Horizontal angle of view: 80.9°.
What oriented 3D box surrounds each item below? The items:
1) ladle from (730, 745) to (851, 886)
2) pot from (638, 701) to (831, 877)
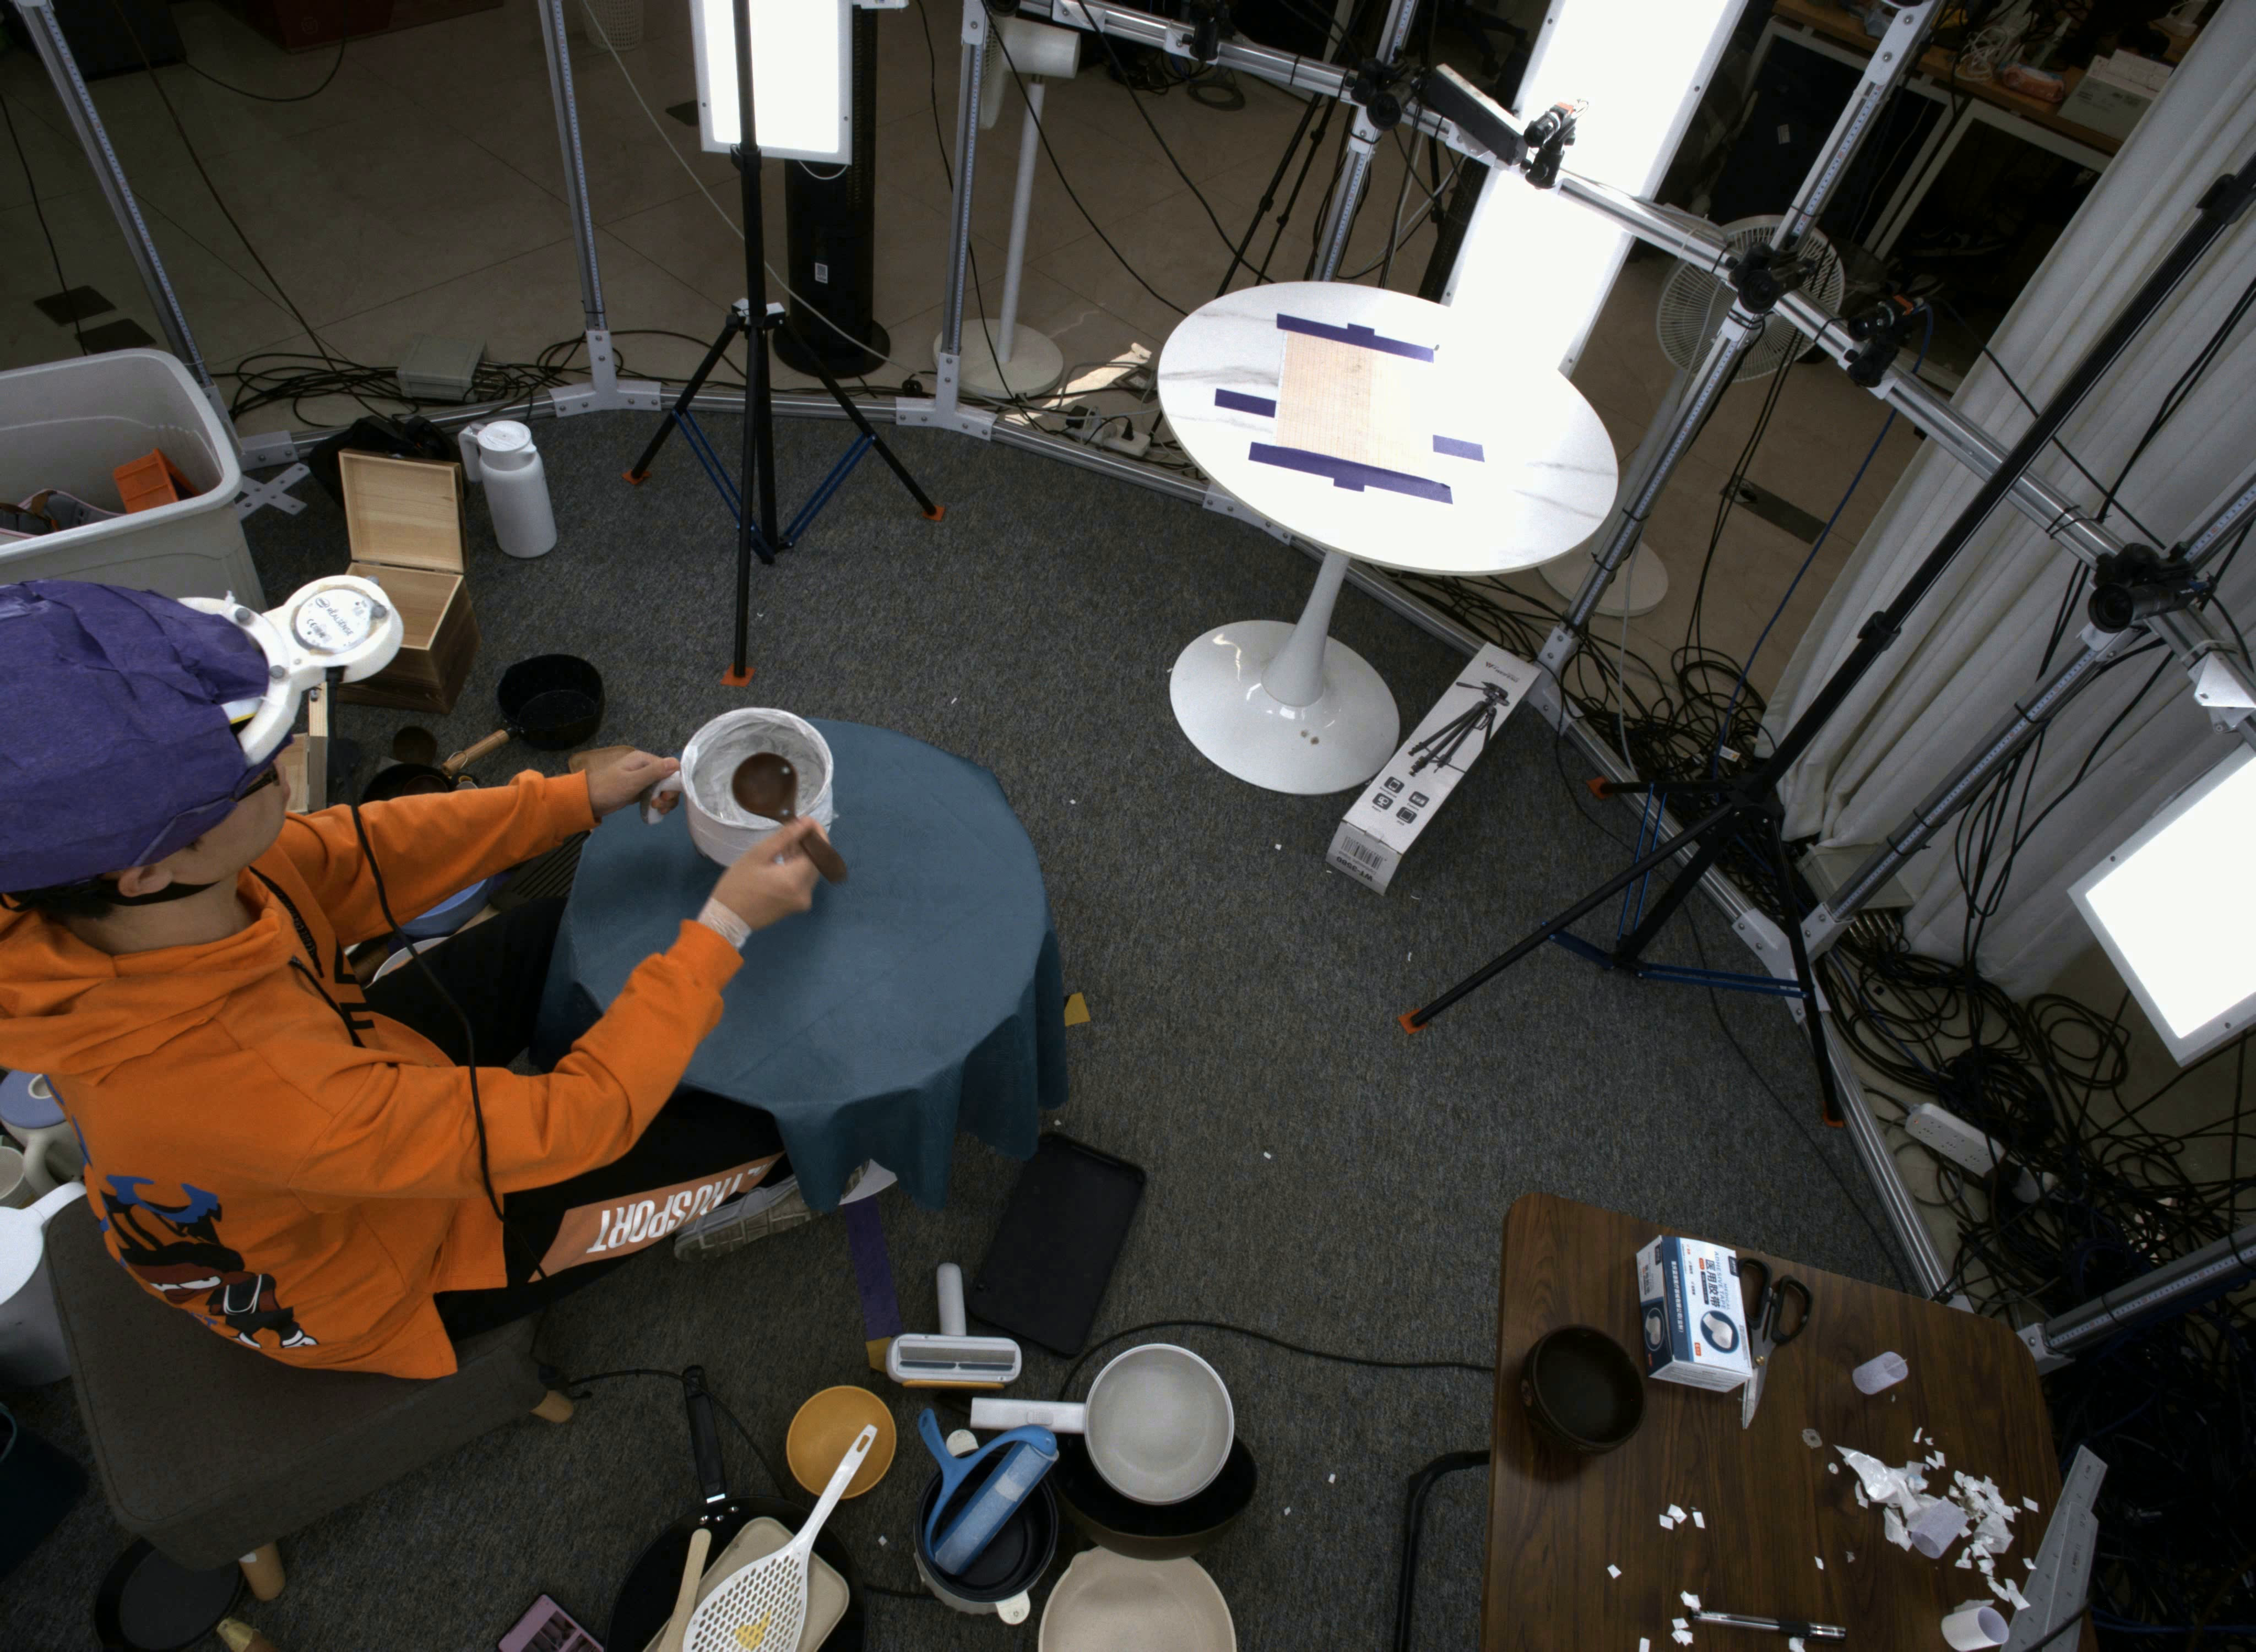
[{"bbox_3d":[-0.354,-0.014,1.361,0.076,0.067,0.250,-38,38,-12],"label":"ladle"},{"bbox_3d":[-0.476,-0.040,1.559,0.234,0.139,0.175,0,57,-15],"label":"pot"}]
